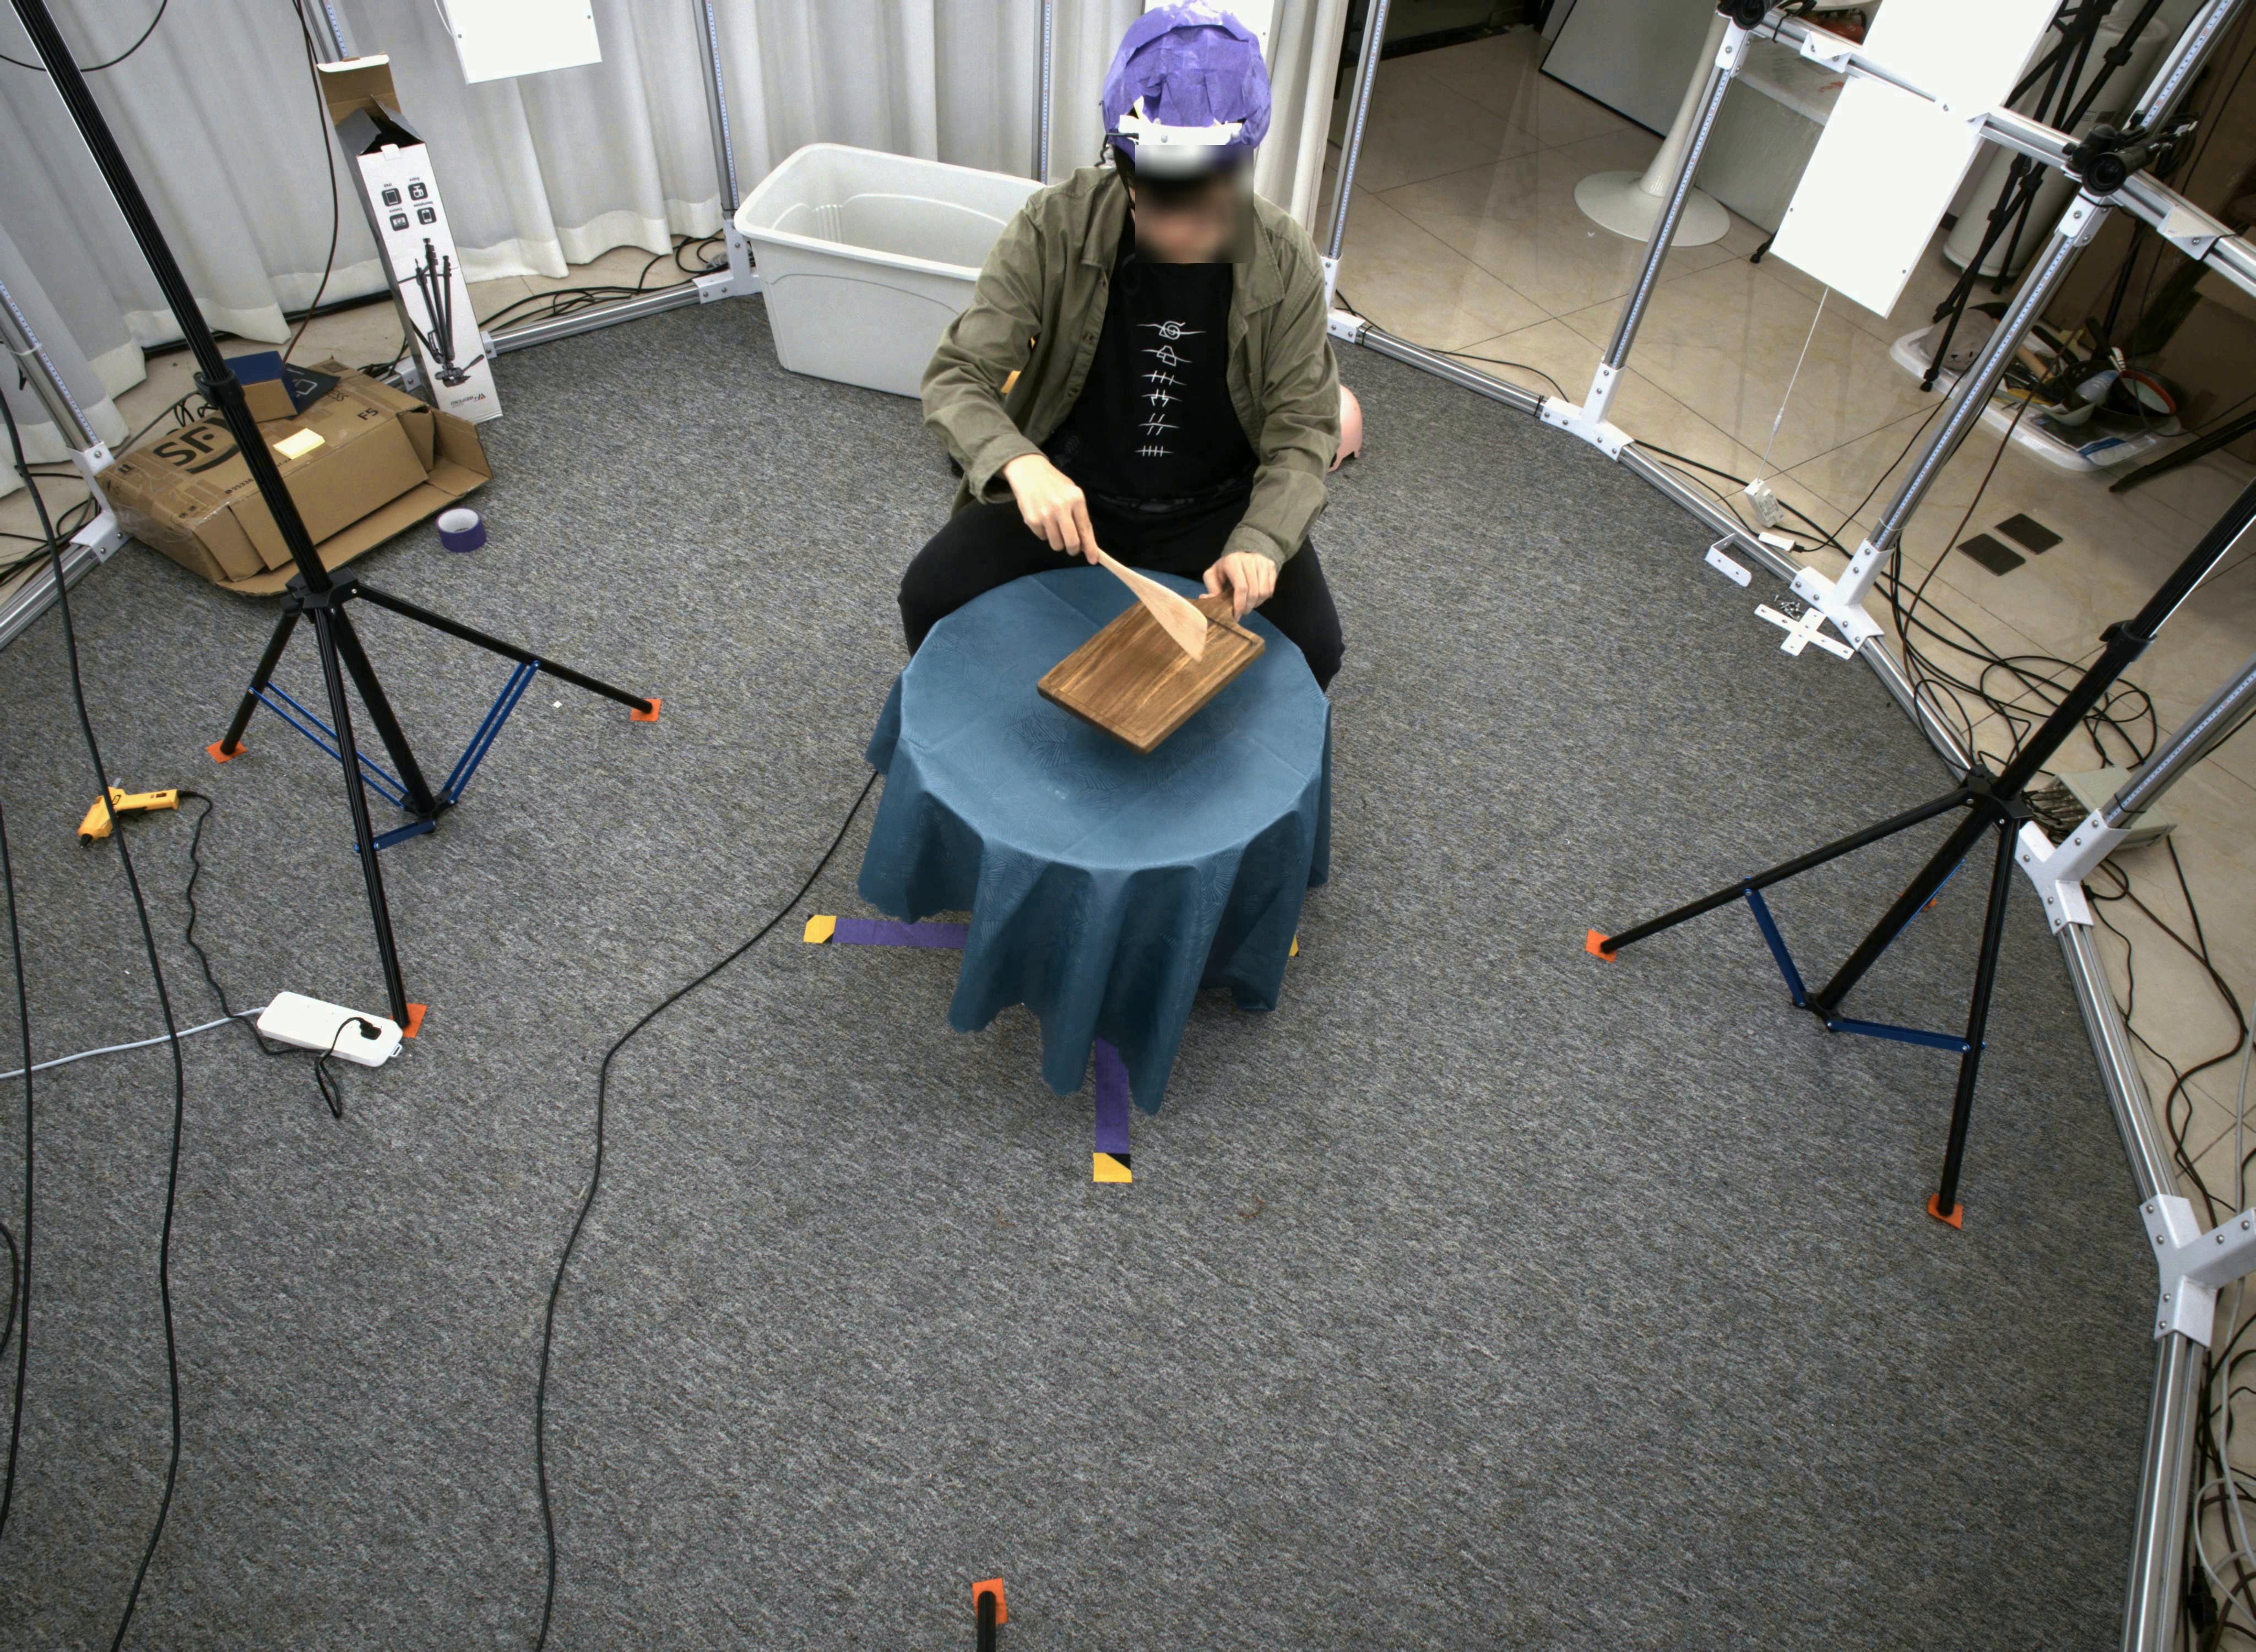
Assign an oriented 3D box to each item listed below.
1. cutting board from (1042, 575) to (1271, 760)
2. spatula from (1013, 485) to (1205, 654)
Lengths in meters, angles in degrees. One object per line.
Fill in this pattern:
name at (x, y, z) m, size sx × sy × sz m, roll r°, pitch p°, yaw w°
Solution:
cutting board at (0.072, -0.236, 1.722) m, size 0.204 × 0.022 × 0.355 m, roll 33°, pitch 60°, yaw 31°
spatula at (-0.025, -0.344, 1.671) m, size 0.330 × 0.078 × 0.017 m, roll 38°, pitch 58°, yaw 11°
